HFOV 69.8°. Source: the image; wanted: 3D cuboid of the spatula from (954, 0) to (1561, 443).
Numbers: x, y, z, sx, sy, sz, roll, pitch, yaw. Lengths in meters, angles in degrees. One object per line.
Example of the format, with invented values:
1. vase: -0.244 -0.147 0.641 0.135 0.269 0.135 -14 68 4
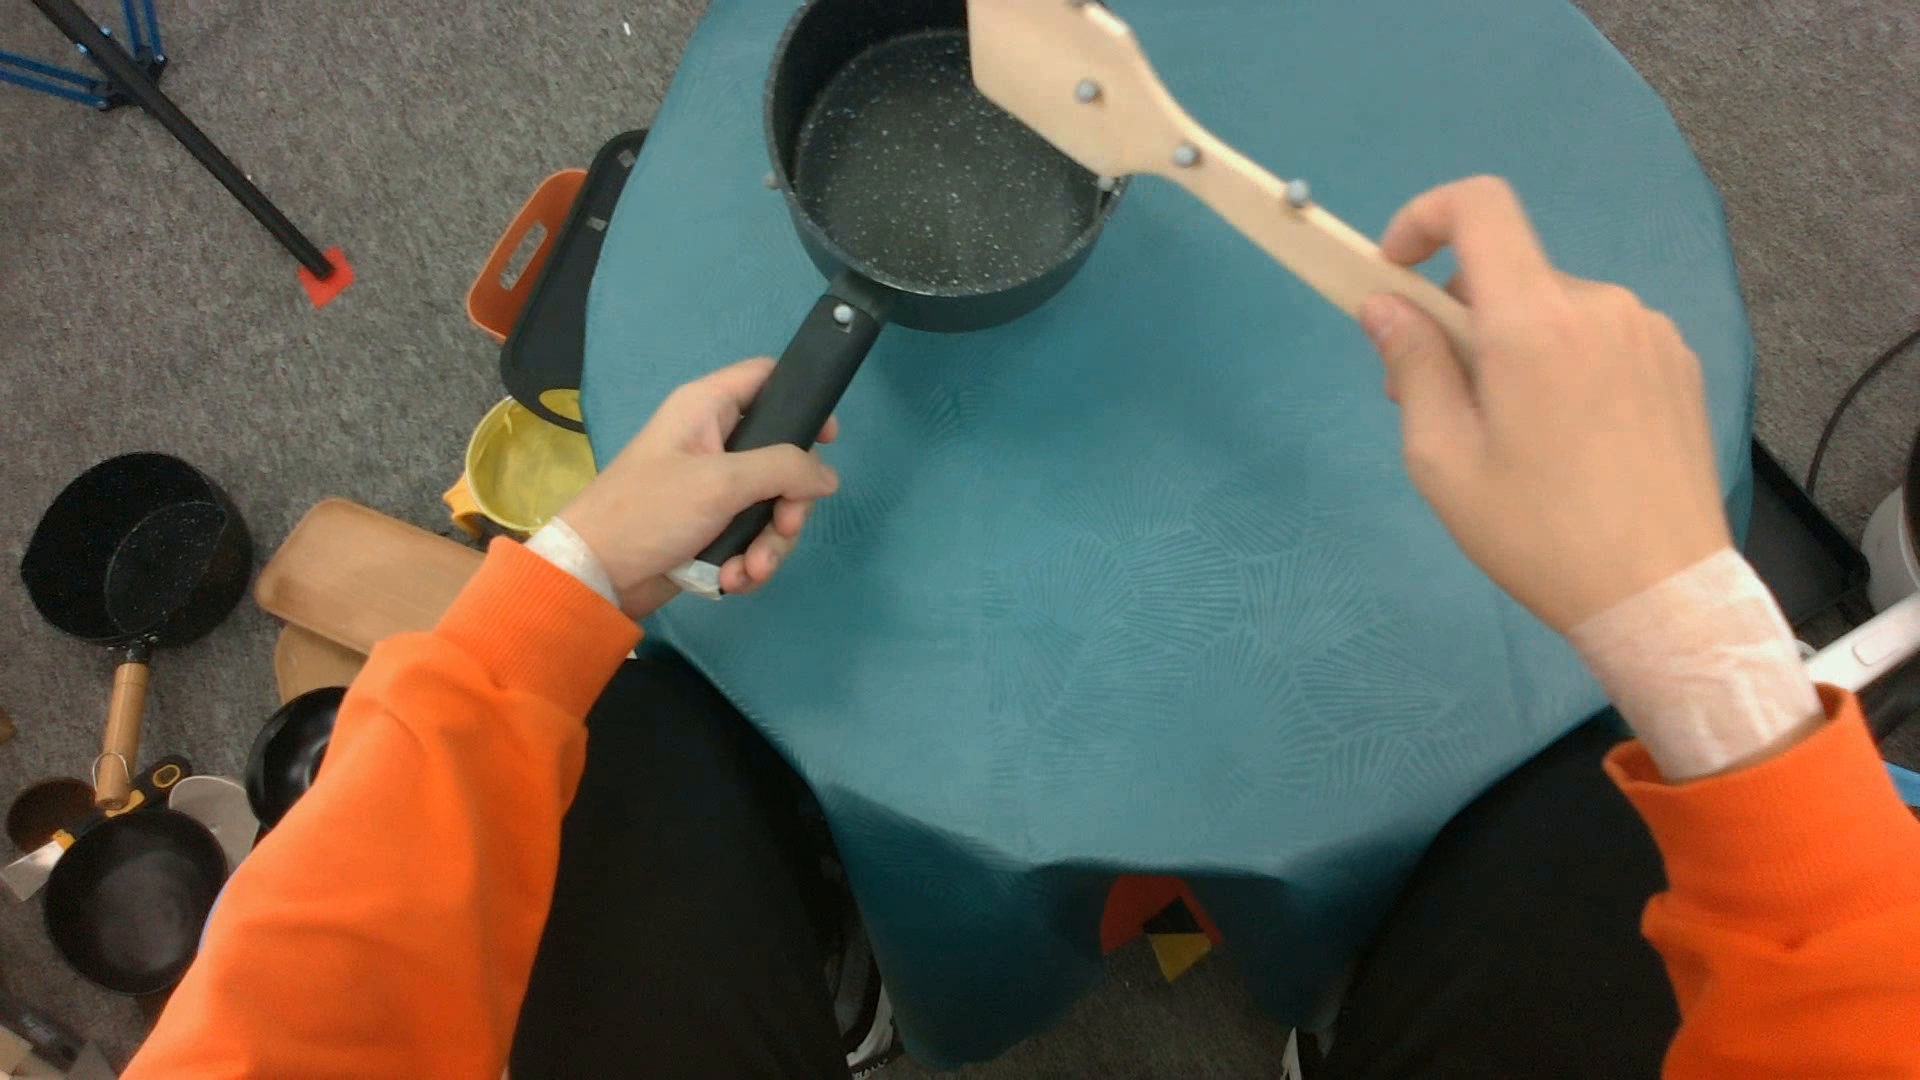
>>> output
1. spatula: 0.096 -0.133 0.499 0.011 0.072 0.293 -32 63 -26

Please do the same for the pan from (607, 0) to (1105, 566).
1. pan: -0.055 -0.128 0.640 0.172 0.086 0.329 29 79 3
